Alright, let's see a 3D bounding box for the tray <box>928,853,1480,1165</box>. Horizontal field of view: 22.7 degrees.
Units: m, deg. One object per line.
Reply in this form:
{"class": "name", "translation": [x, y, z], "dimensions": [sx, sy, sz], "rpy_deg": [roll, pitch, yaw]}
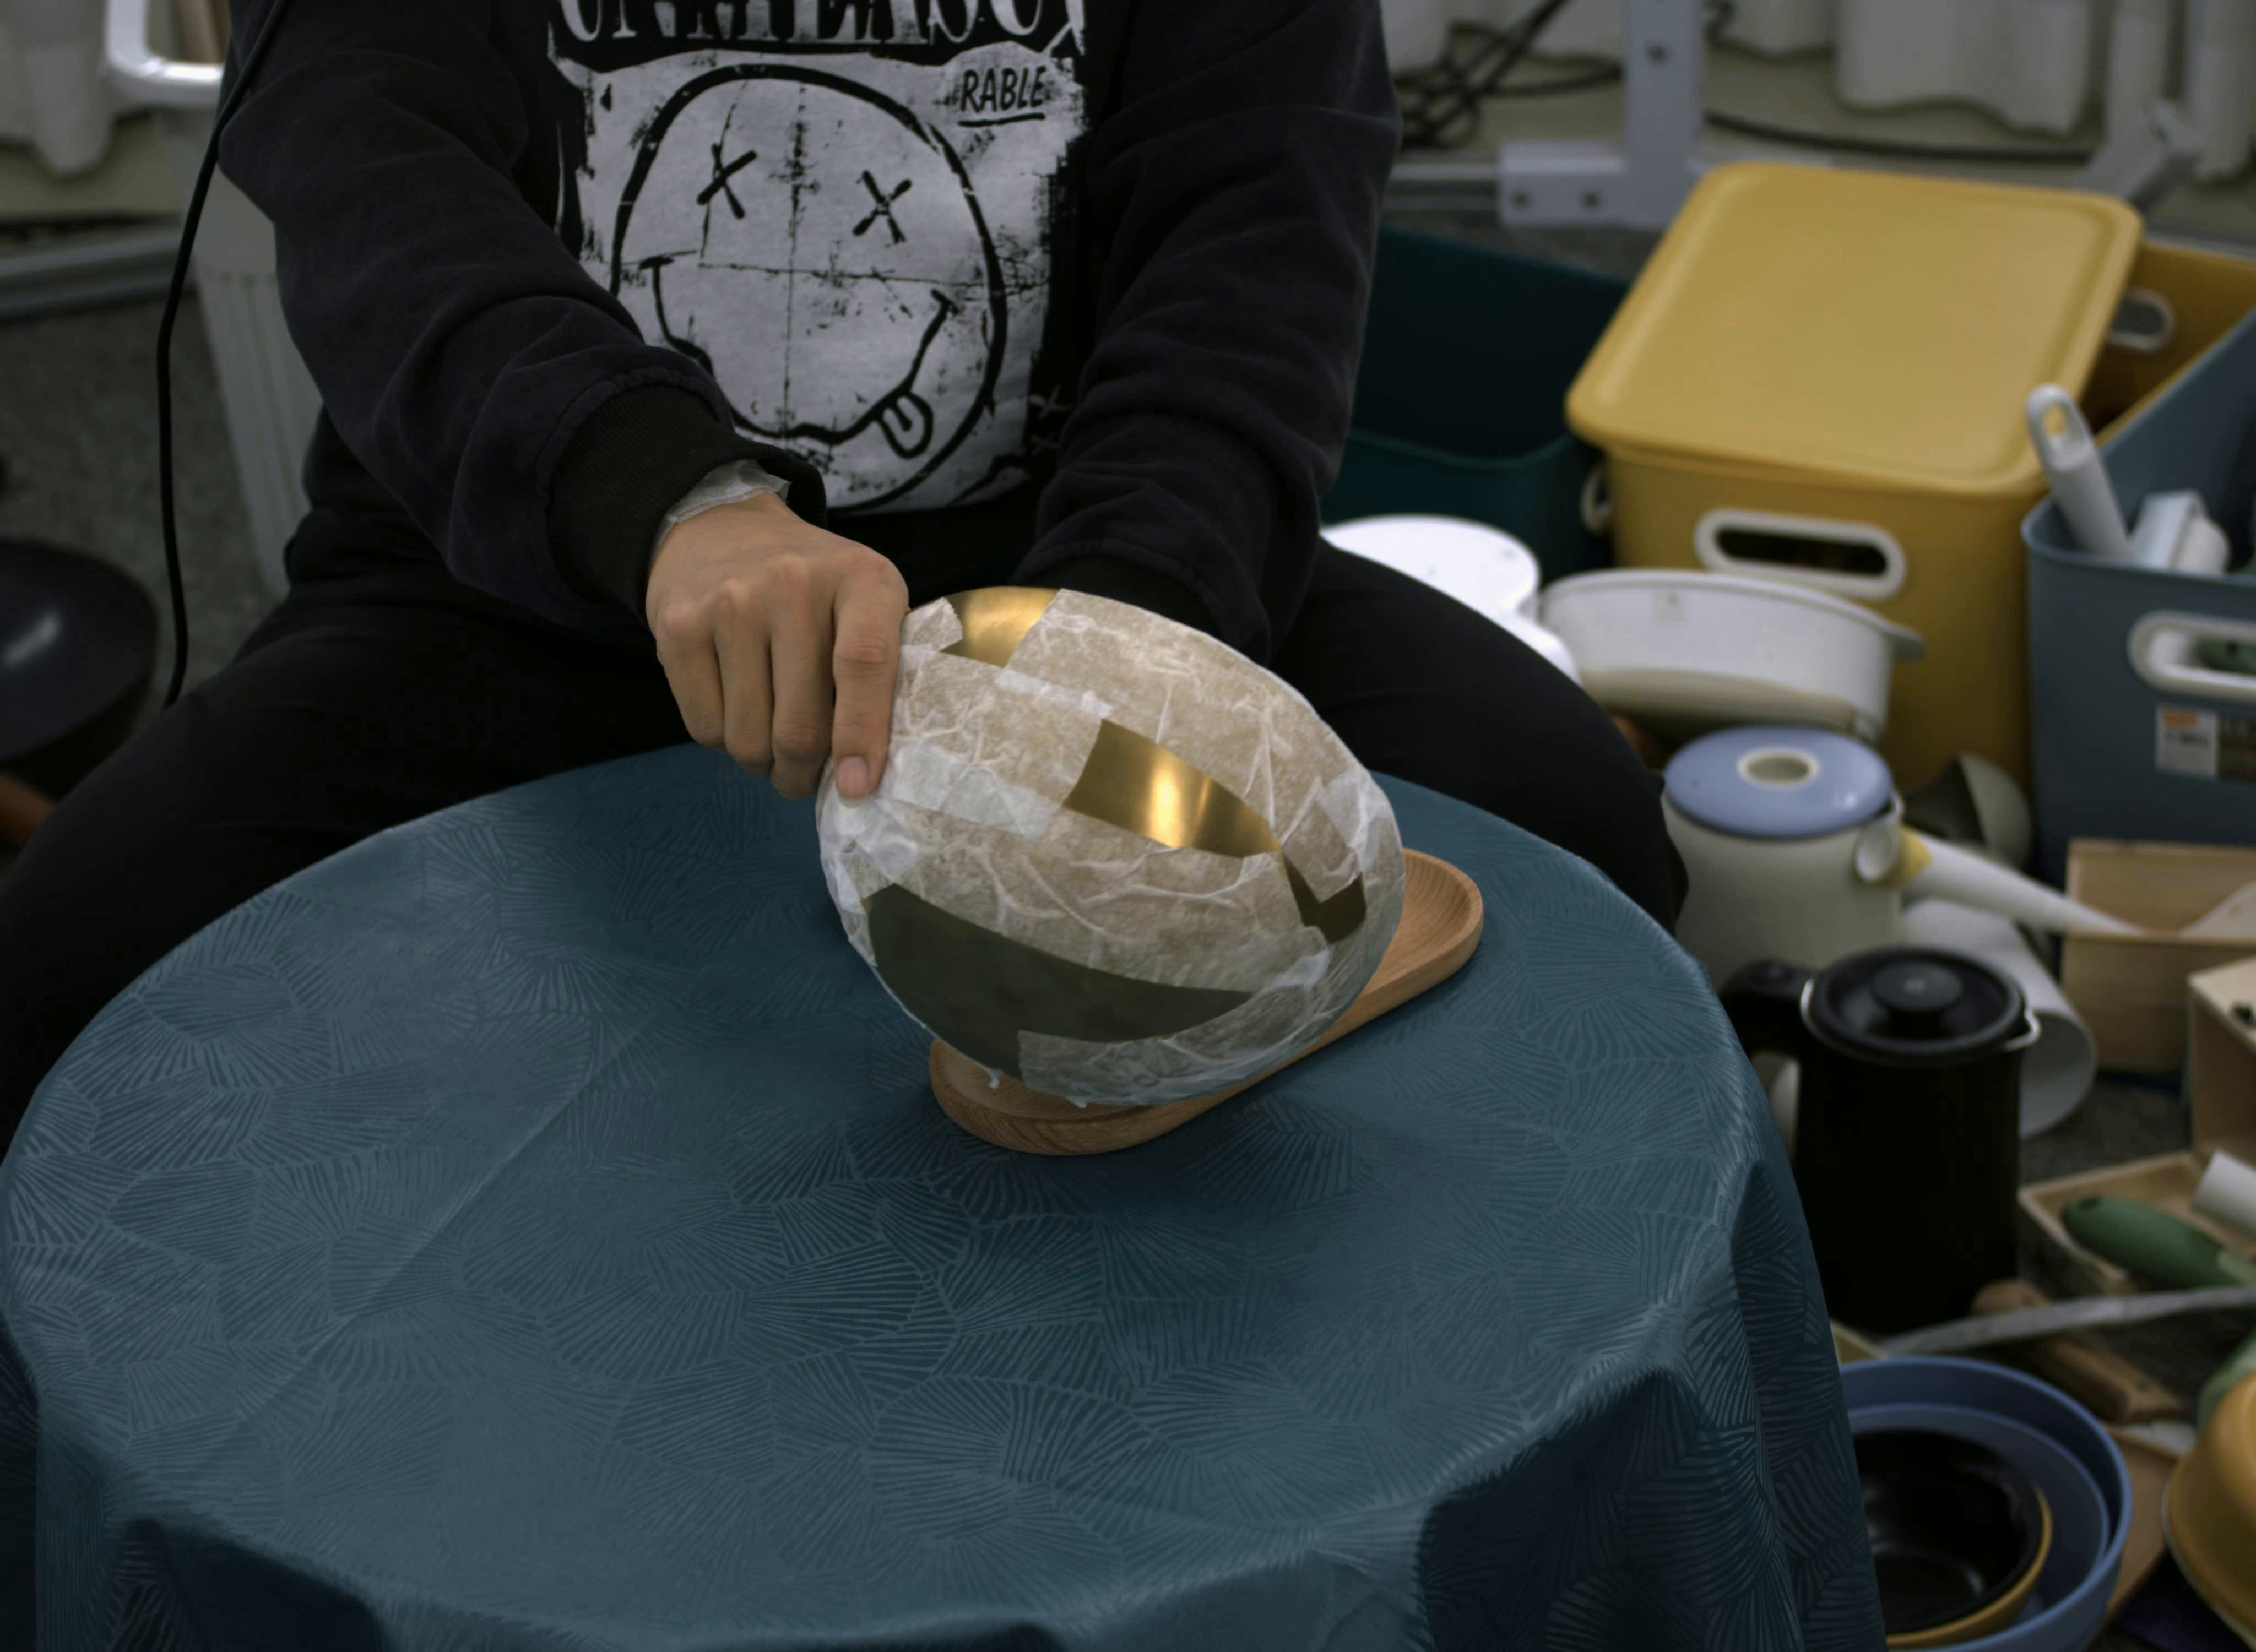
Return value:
{"class": "tray", "translation": [0.029, 0.062, 1.958], "dimensions": [0.101, 0.020, 0.234], "rpy_deg": [20, 37, 41]}

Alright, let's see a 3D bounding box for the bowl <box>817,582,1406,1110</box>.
{"class": "bowl", "translation": [-0.019, 0.027, 1.829], "dimensions": [0.213, 0.212, 0.096], "rpy_deg": [10, 49, 23]}
